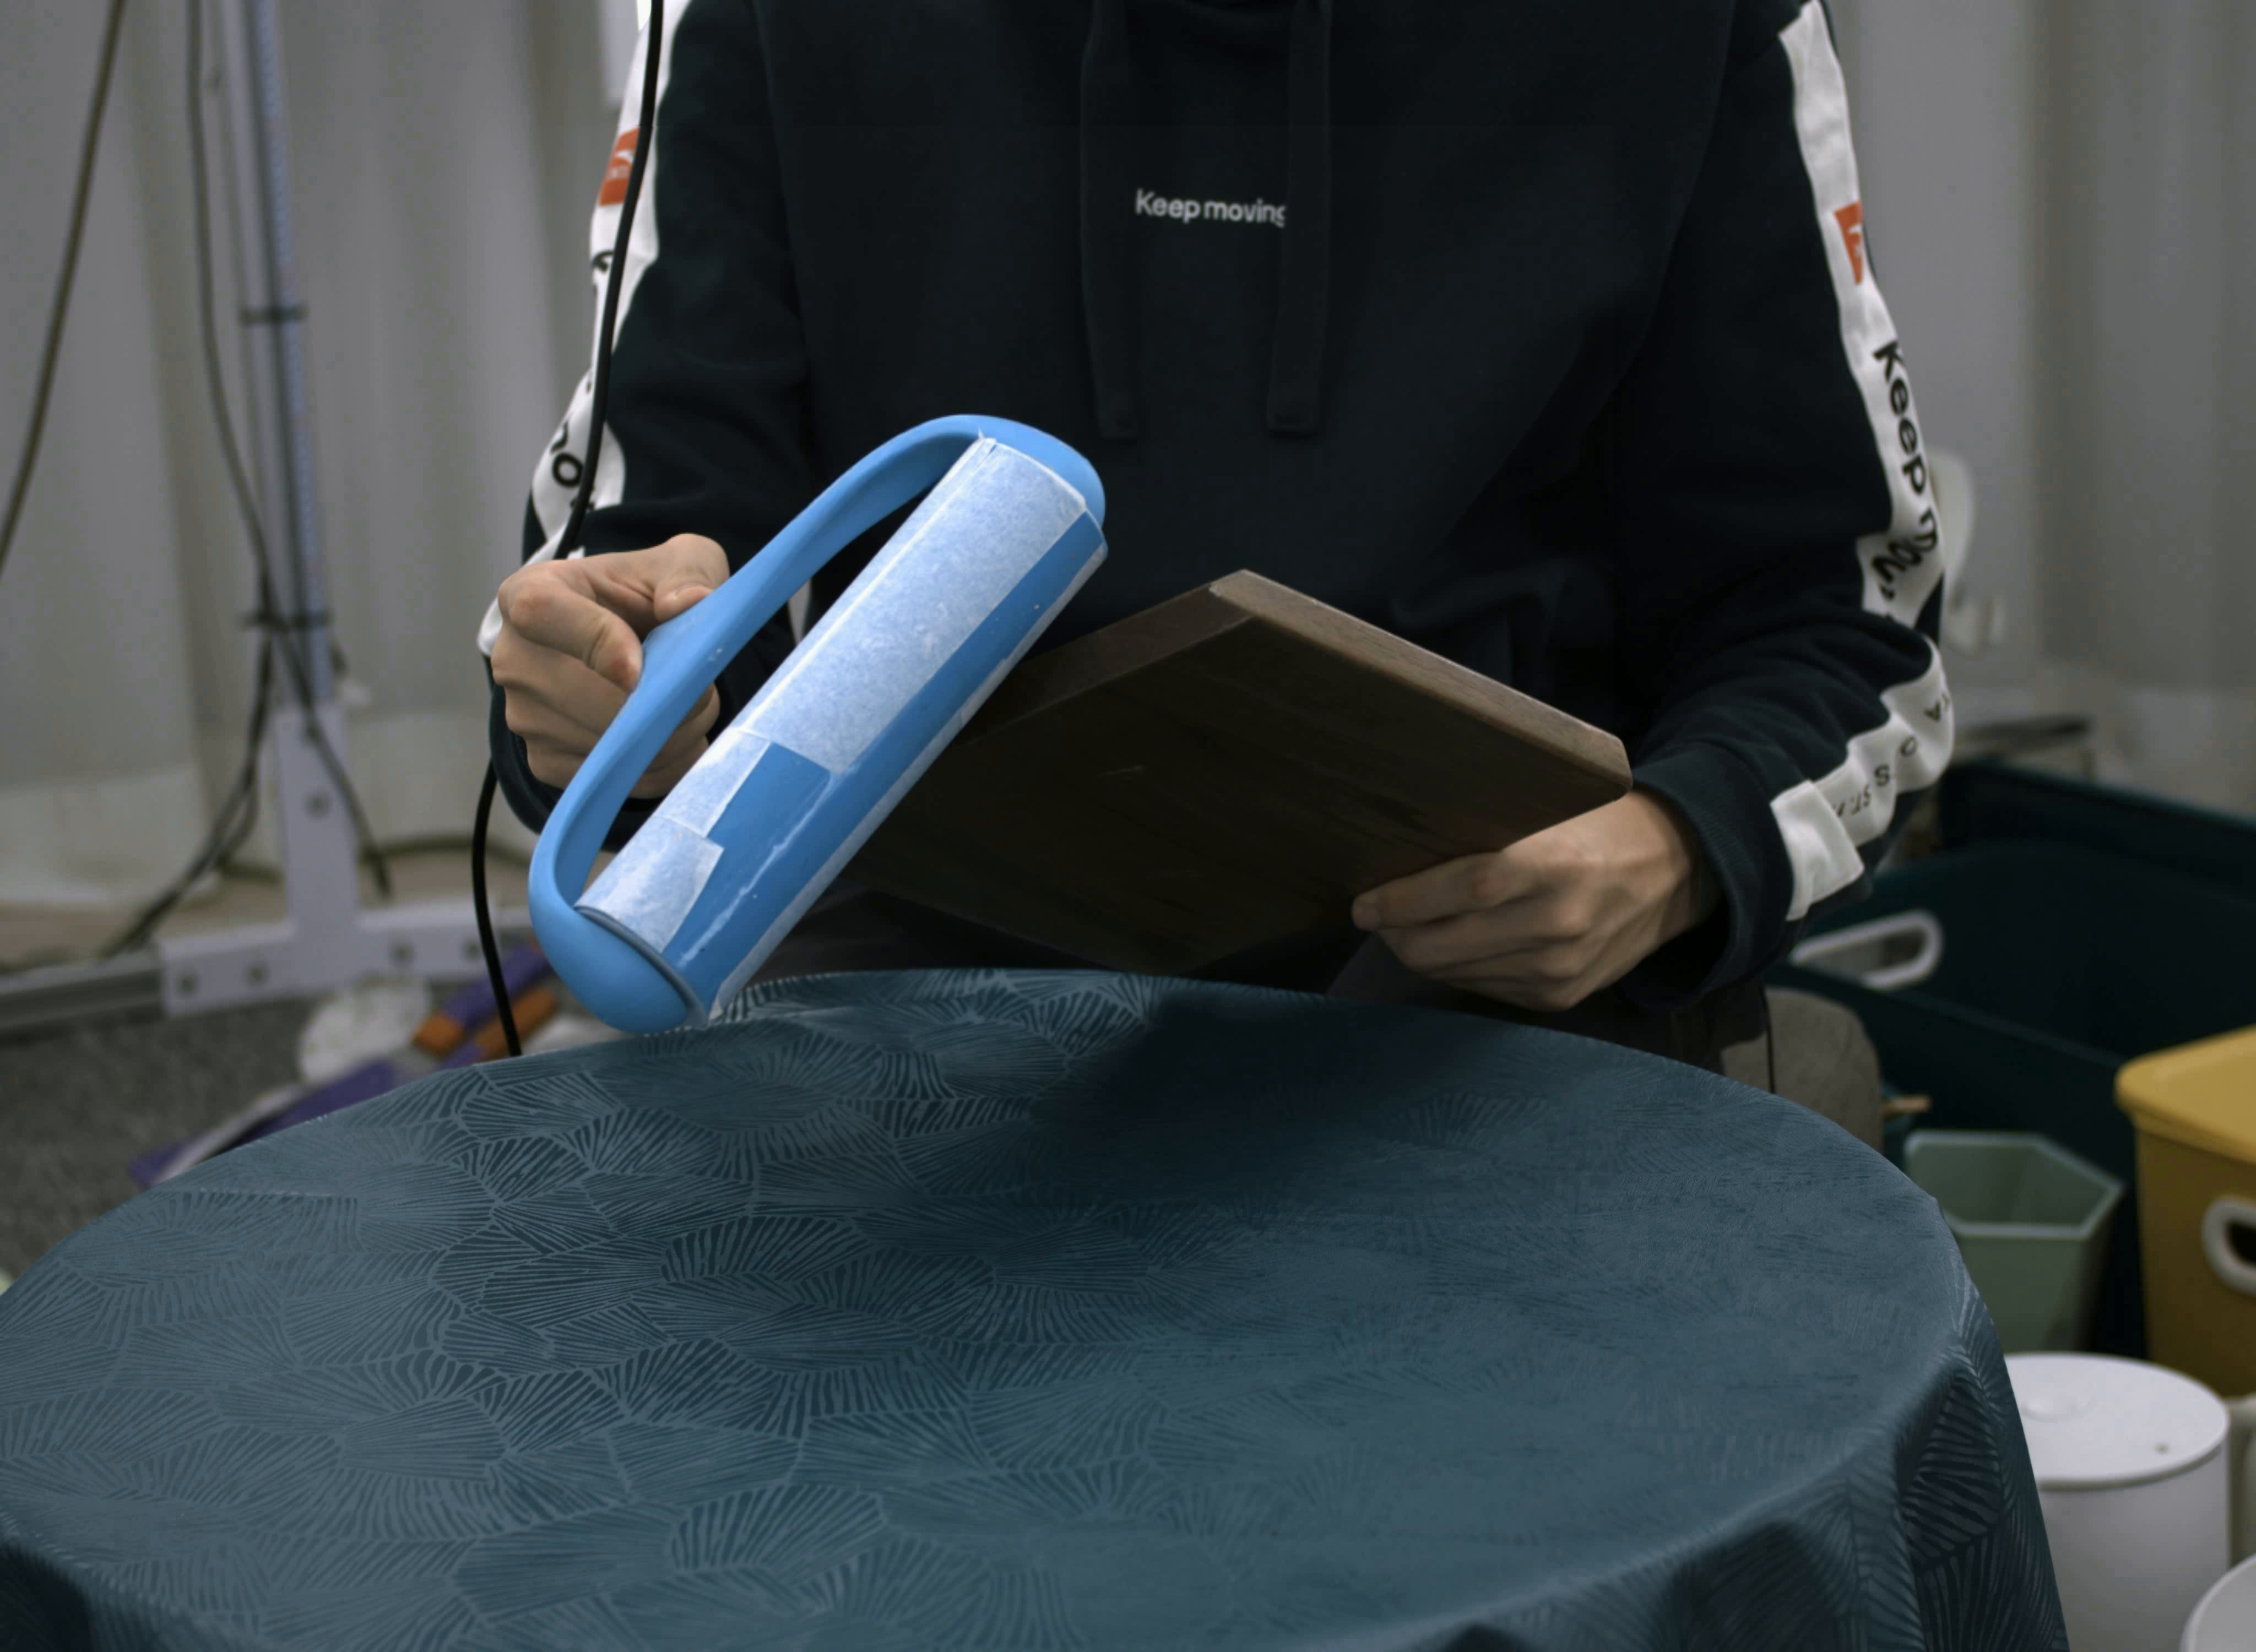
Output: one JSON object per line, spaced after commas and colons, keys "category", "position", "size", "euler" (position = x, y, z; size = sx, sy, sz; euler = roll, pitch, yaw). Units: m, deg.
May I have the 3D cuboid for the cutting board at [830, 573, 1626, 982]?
{"category": "cutting board", "position": [0.047, -0.001, 1.796], "size": [0.200, 0.023, 0.349], "euler": [-22, -23, 26]}

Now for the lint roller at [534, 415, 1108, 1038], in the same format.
{"category": "lint roller", "position": [-0.120, -0.035, 1.675], "size": [0.181, 0.067, 0.230], "euler": [8, 55, 53]}
